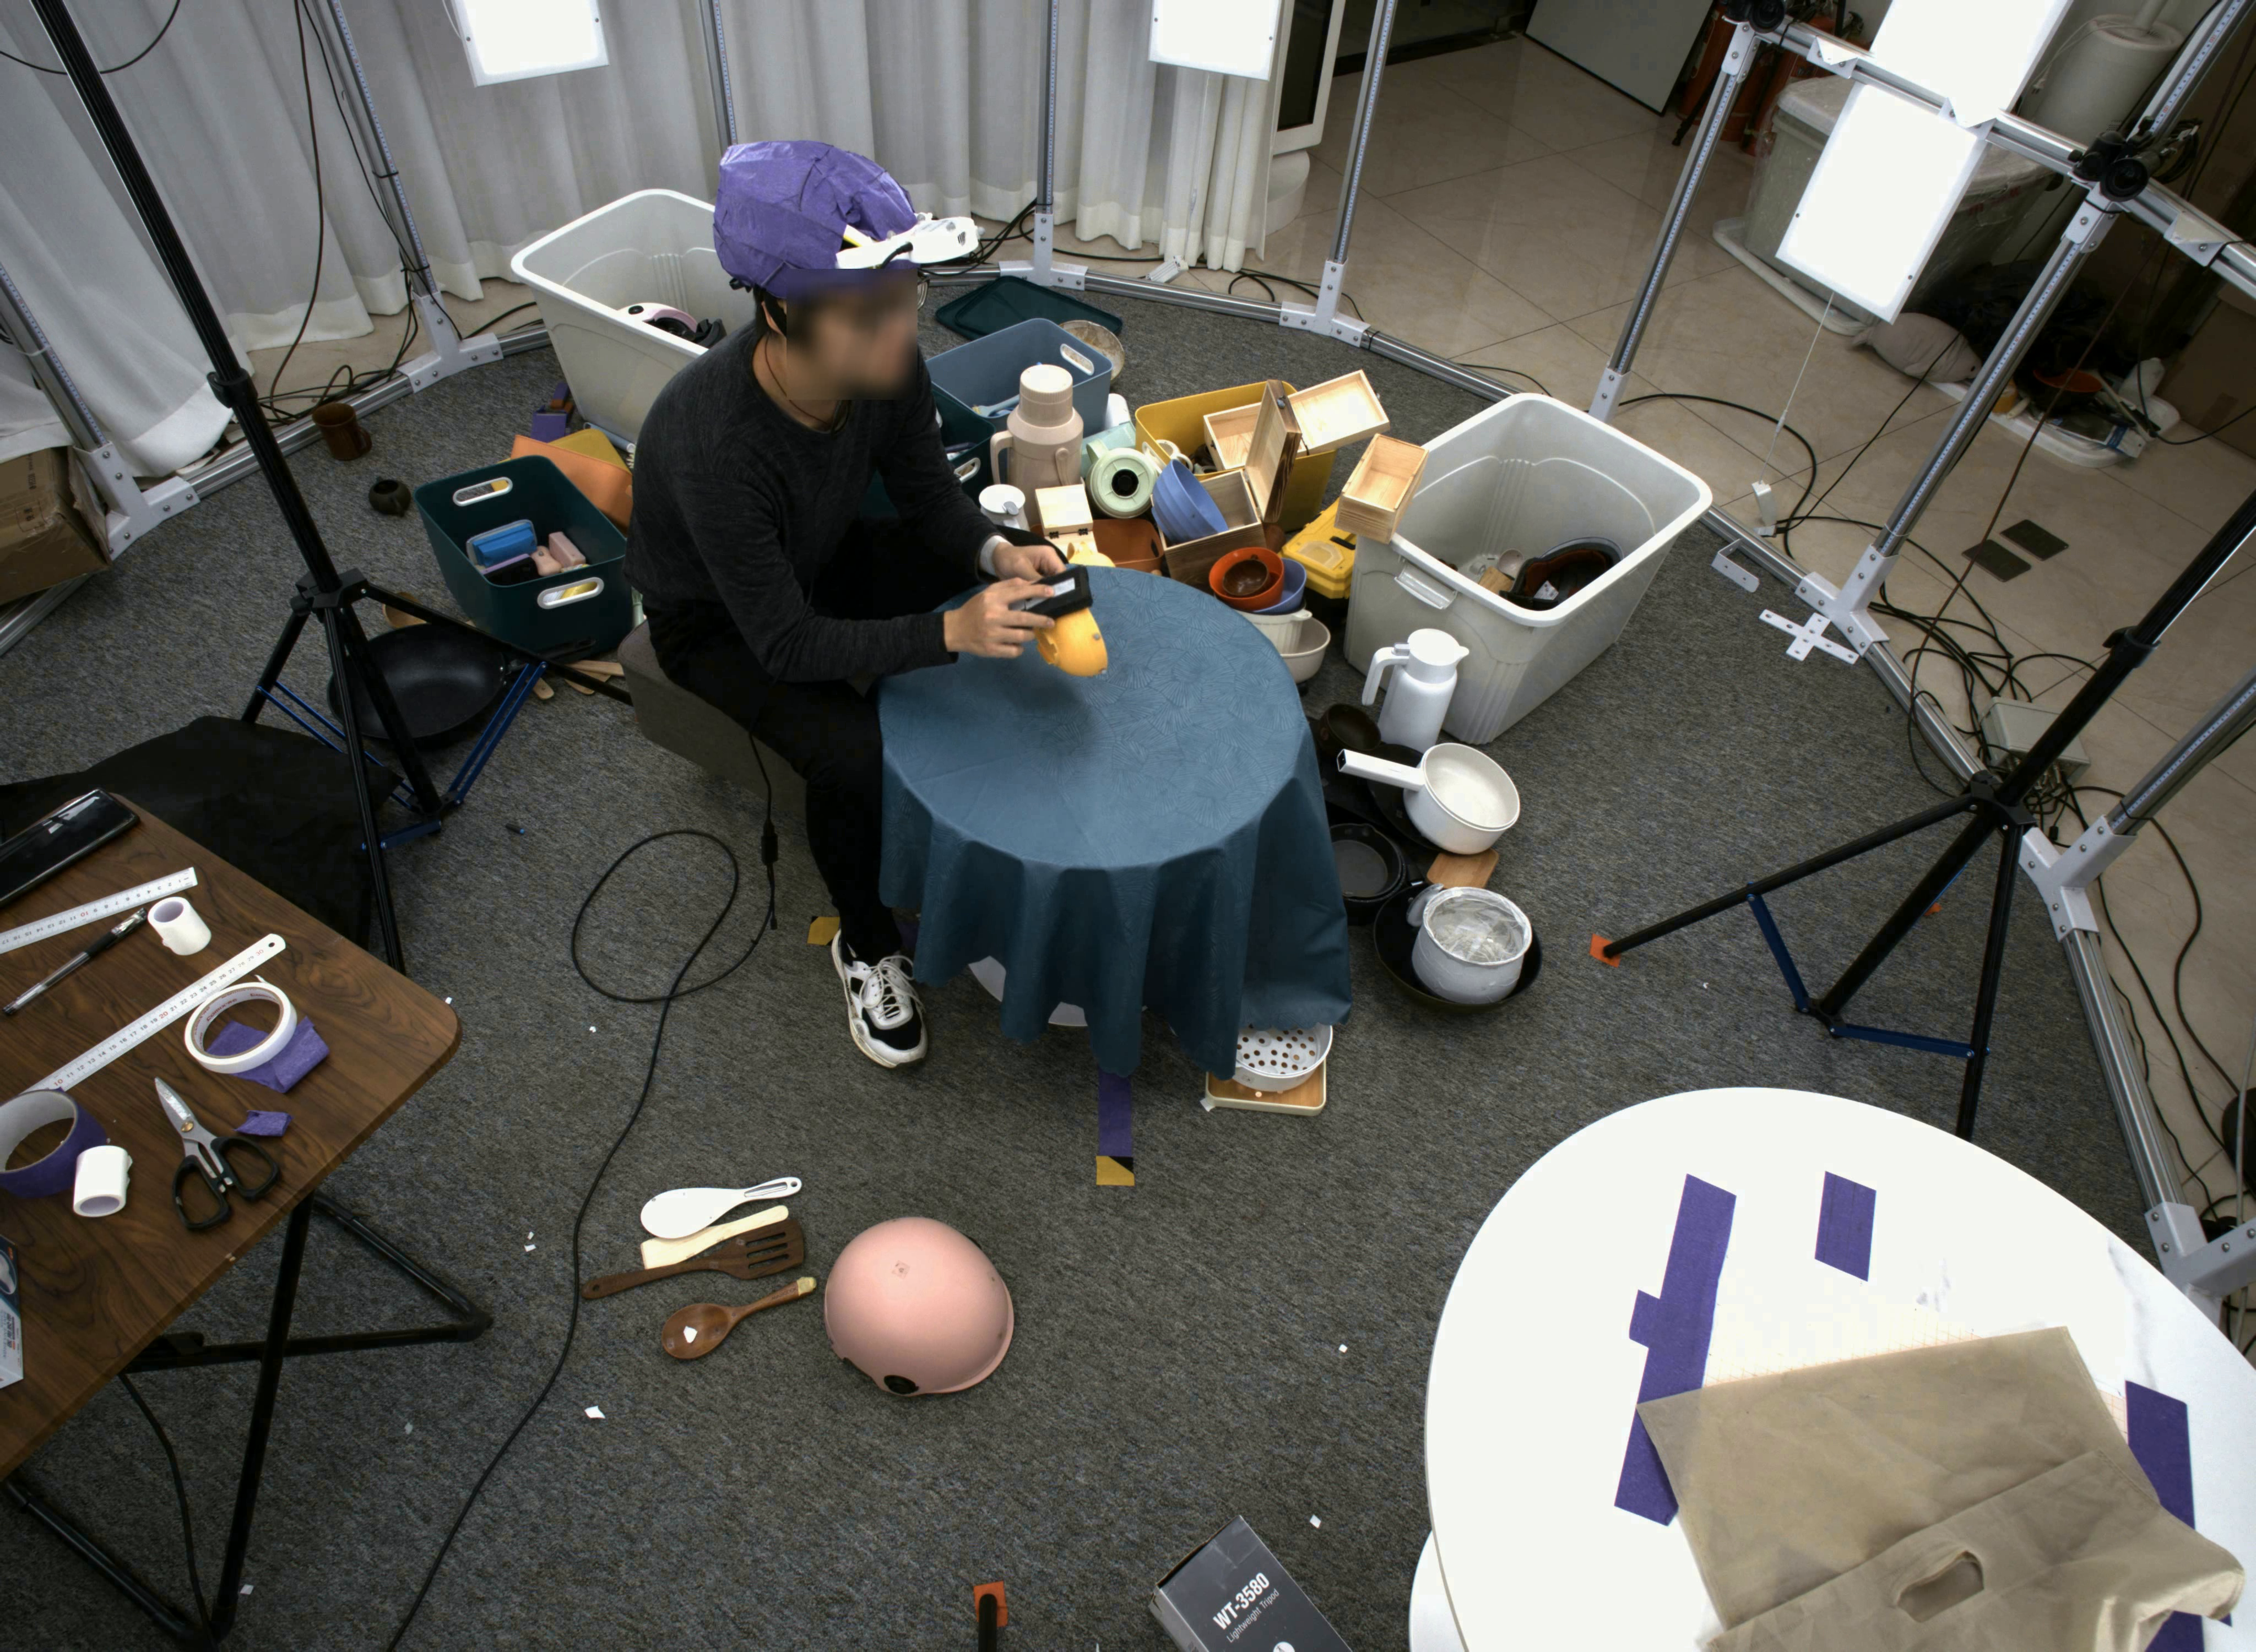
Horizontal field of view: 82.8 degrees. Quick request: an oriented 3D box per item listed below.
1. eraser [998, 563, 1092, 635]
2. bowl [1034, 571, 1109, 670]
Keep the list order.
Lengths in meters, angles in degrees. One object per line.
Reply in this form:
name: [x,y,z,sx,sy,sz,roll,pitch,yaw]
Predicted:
eraser: [-0.110,-0.299,1.696,0.125,0.030,0.054,-20,62,17]
bowl: [-0.089,-0.268,1.746,0.060,0.142,0.148,-30,57,-17]
